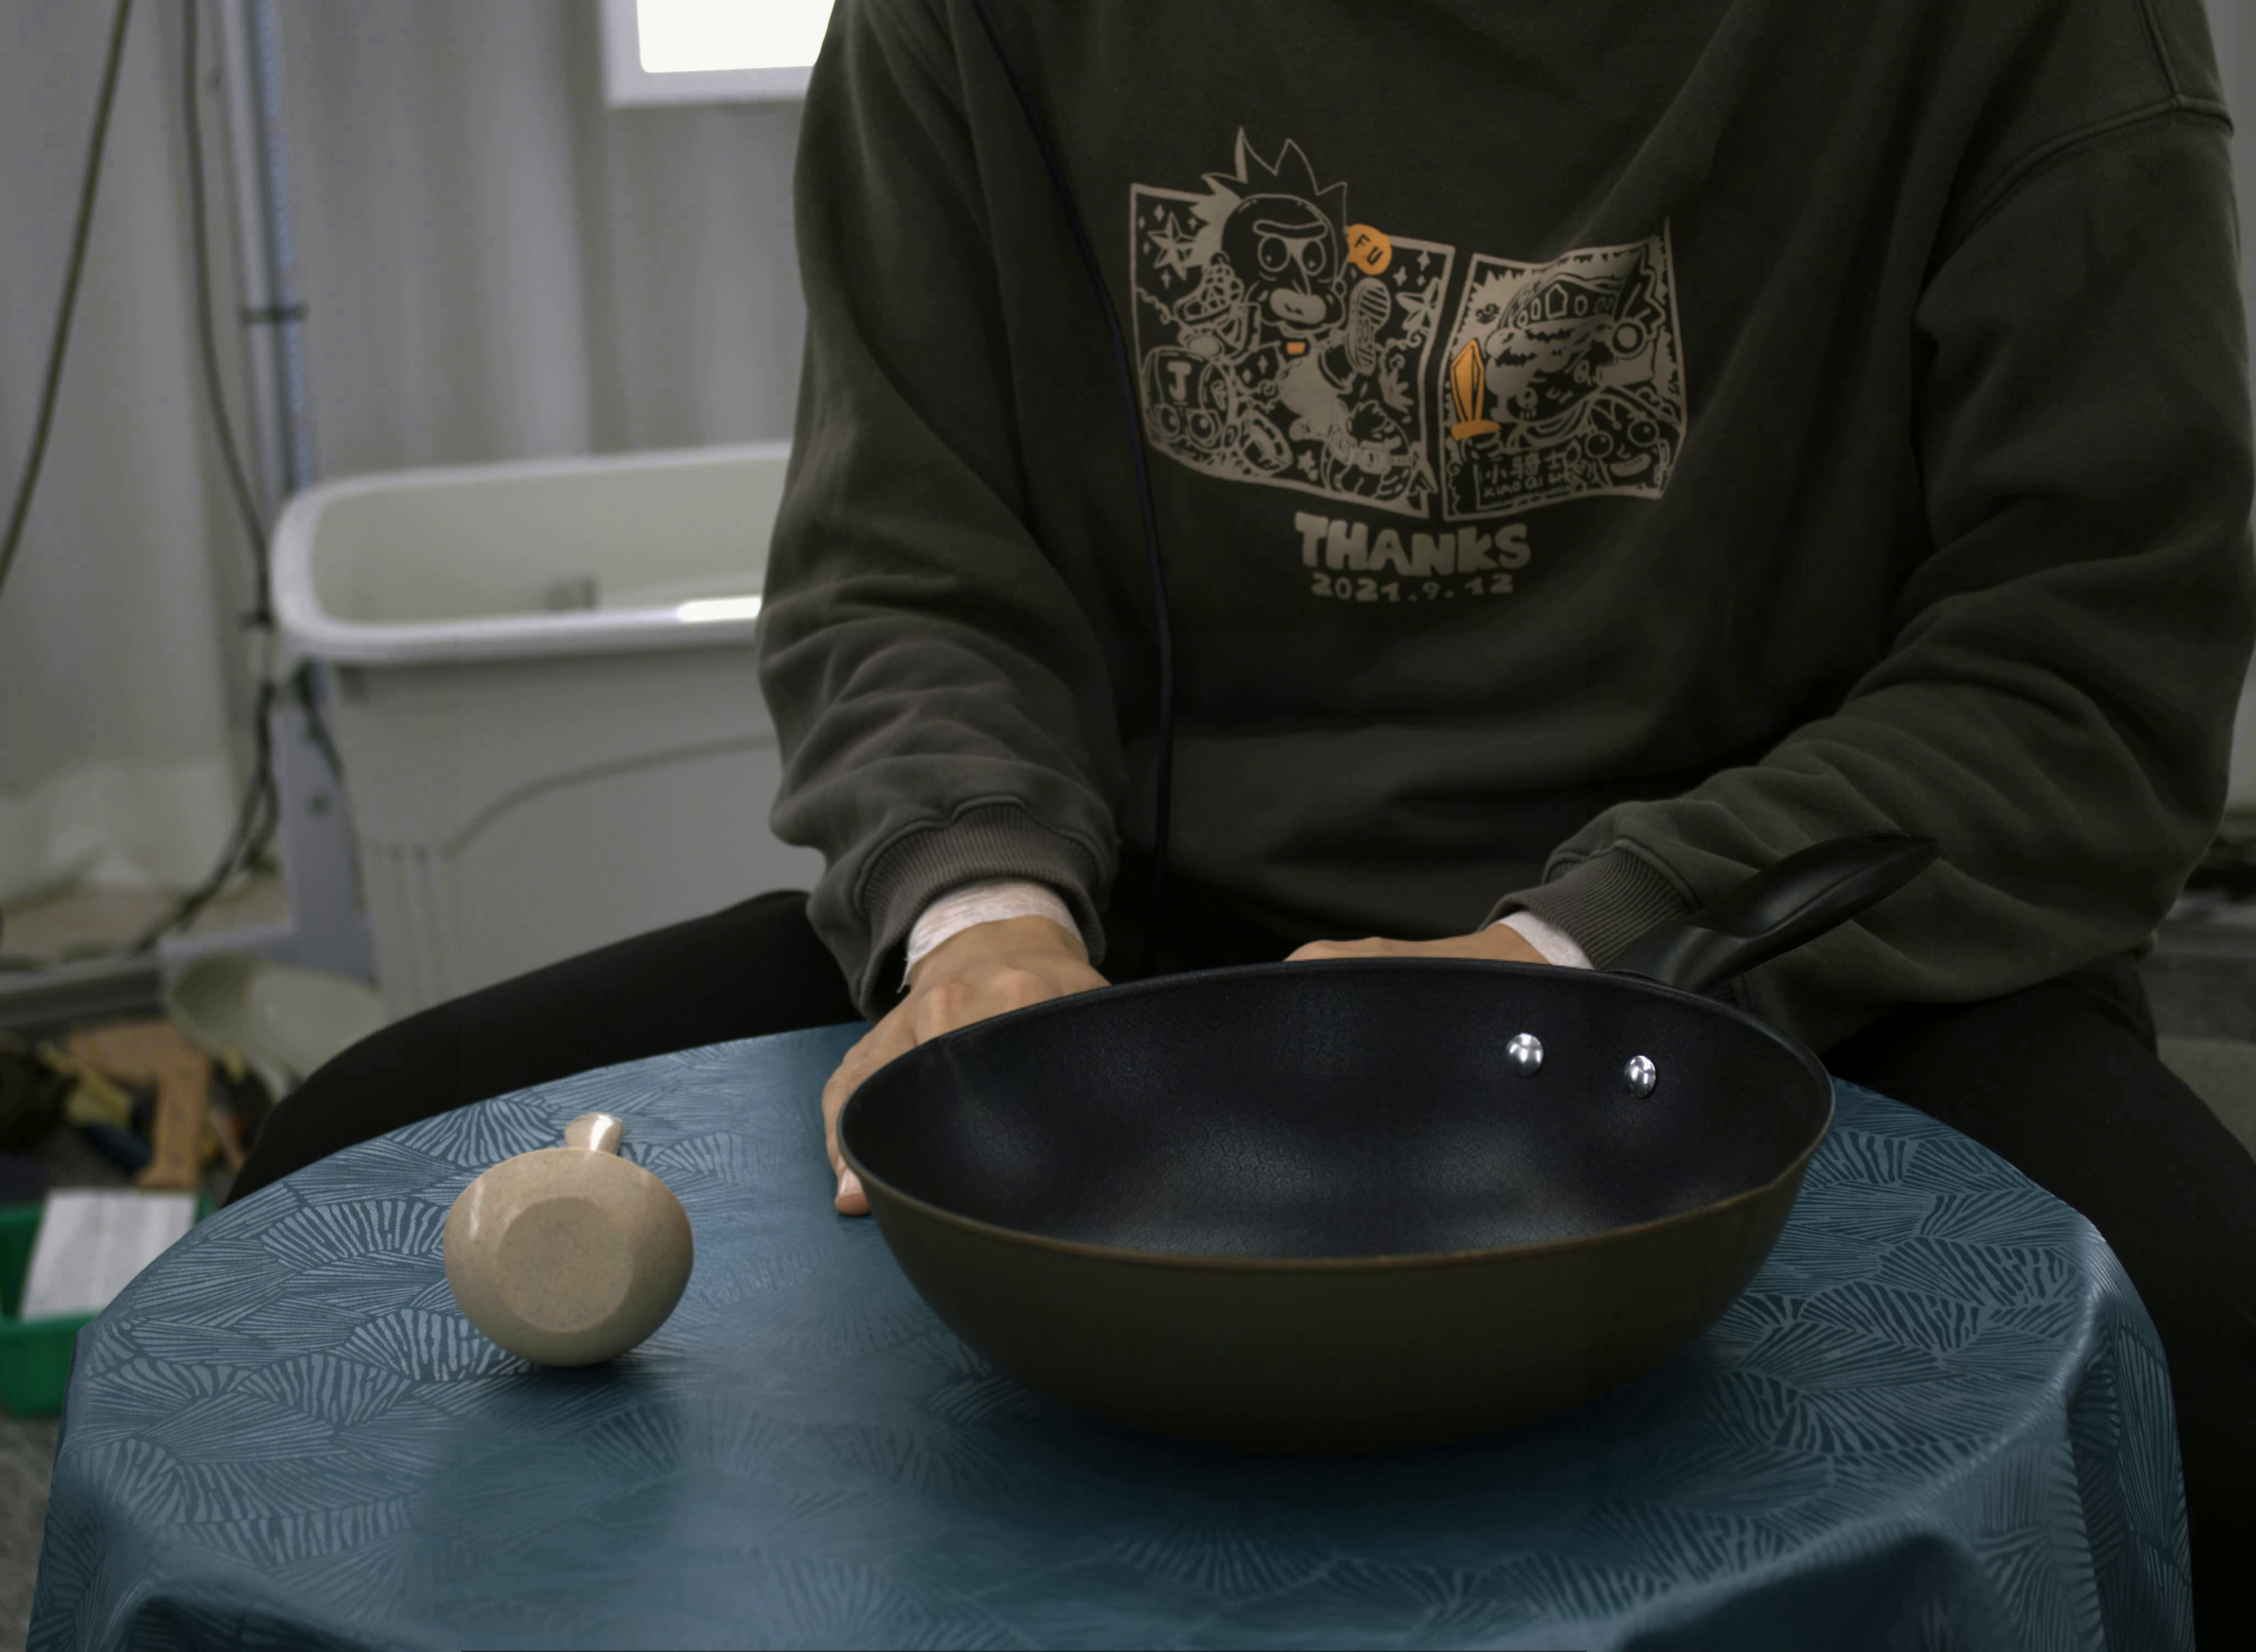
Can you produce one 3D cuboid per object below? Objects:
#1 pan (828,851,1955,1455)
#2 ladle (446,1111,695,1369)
[{"bbox_3d":[0.113,0.093,1.621,0.289,0.086,0.463,8,18,37],"label":"pan"},{"bbox_3d":[-0.173,0.097,1.682,0.072,0.072,0.256,-10,16,-4],"label":"ladle"}]
